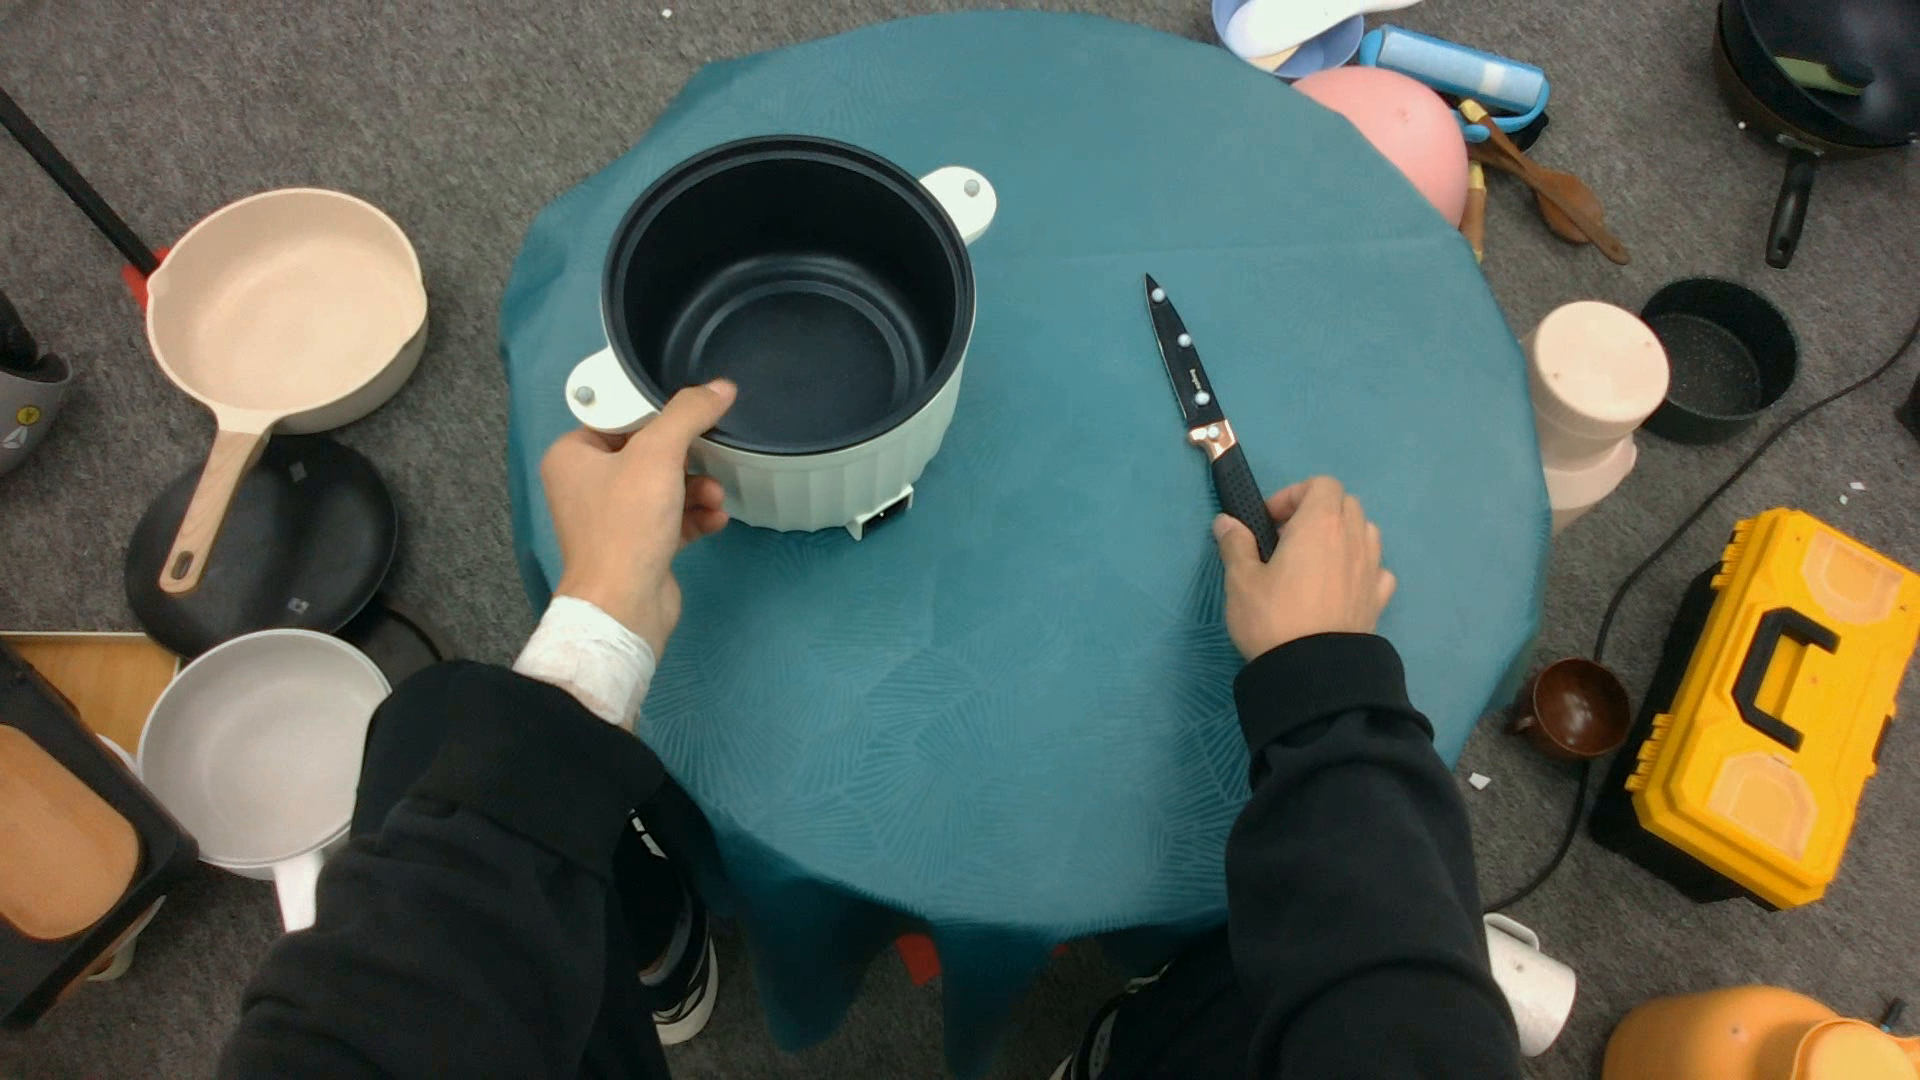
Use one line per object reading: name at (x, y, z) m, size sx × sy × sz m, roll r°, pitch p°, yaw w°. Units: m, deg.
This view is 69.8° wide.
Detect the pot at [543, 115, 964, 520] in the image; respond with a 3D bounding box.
pot at (-0.107, -0.112, 0.731) m, size 0.241 × 0.142 × 0.190 m, roll -34°, pitch 79°, yaw -19°

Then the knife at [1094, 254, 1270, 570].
knife at (0.129, -0.081, 0.812) m, size 0.026 × 0.017 × 0.226 m, roll -26°, pitch 69°, yaw 12°
